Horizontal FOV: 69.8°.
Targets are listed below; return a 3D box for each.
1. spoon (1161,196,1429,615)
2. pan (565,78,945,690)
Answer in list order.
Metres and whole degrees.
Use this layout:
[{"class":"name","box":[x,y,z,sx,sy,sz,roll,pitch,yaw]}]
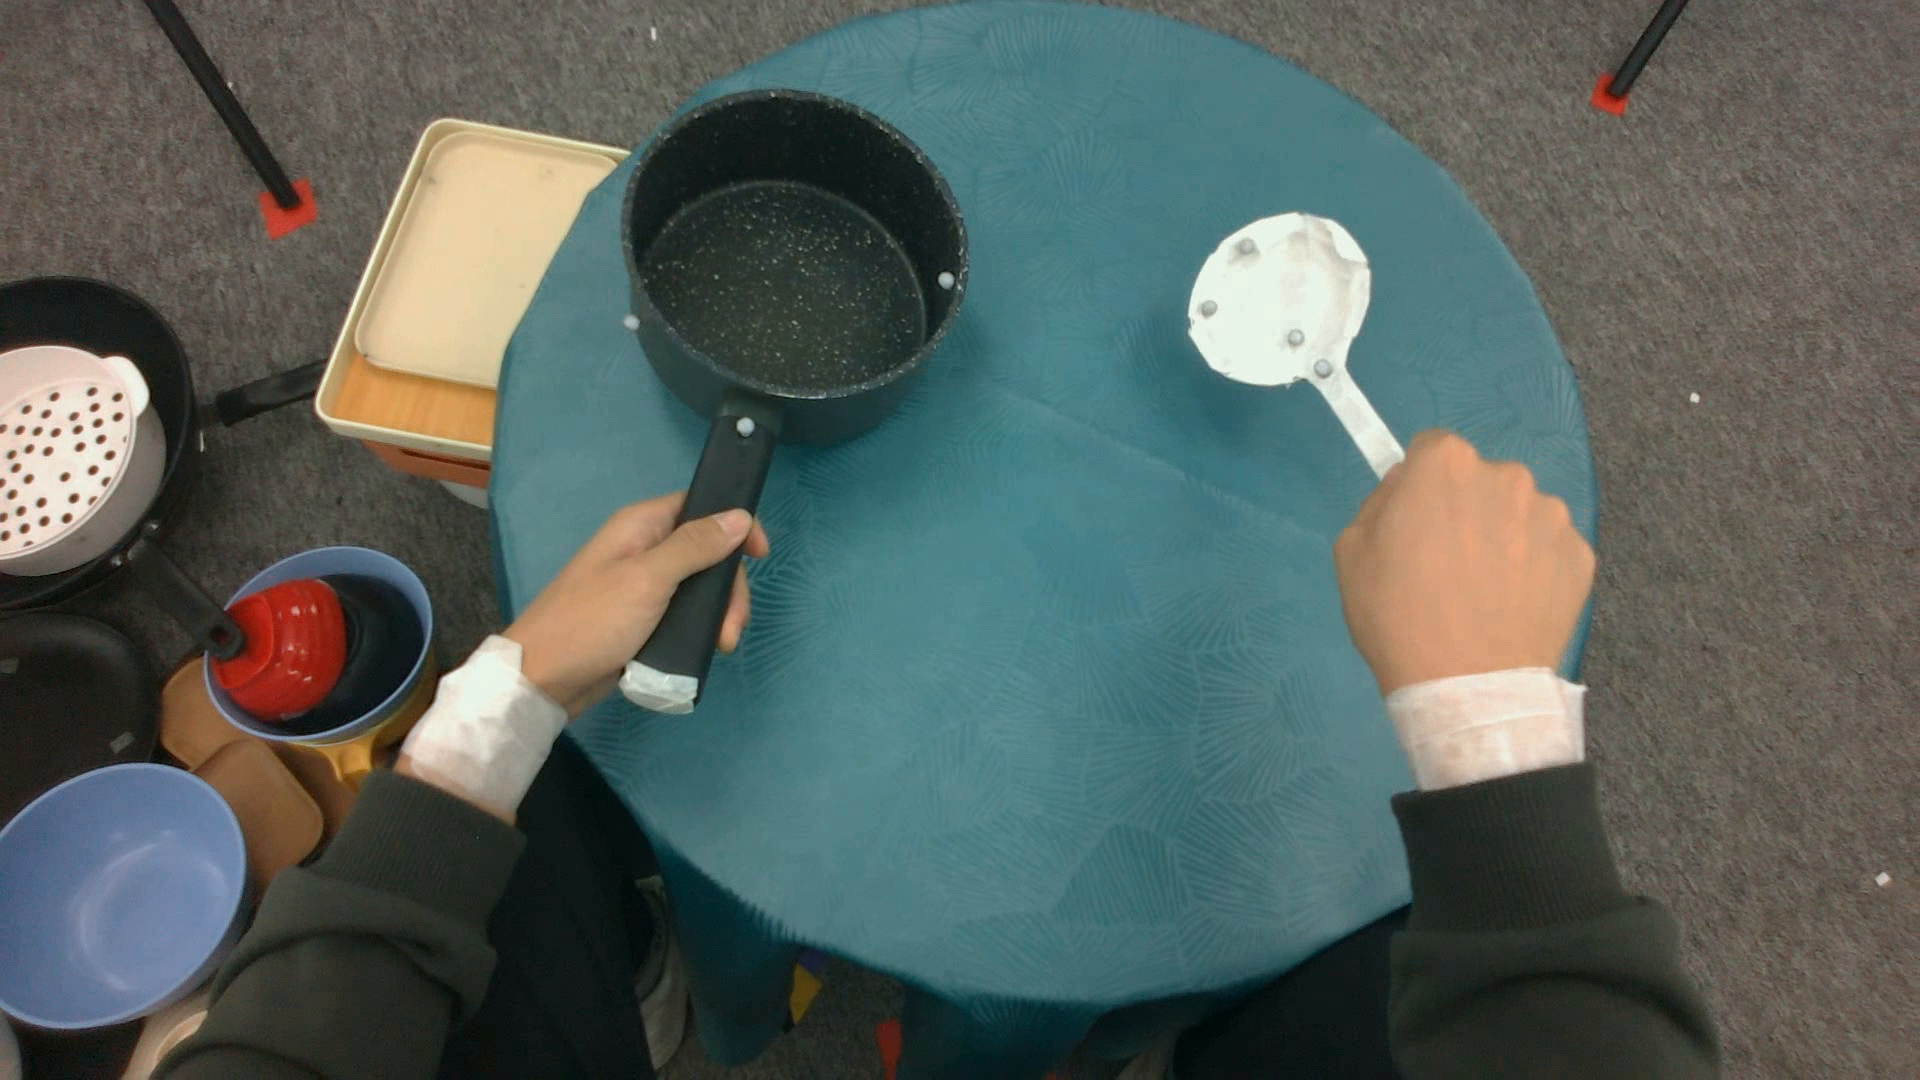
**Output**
[{"class":"spoon","box":[0.151,-0.069,0.639,0.059,0.100,0.278,38,27,-28]},{"class":"pan","box":[-0.117,-0.074,0.679,0.172,0.086,0.330,17,66,-5]}]
